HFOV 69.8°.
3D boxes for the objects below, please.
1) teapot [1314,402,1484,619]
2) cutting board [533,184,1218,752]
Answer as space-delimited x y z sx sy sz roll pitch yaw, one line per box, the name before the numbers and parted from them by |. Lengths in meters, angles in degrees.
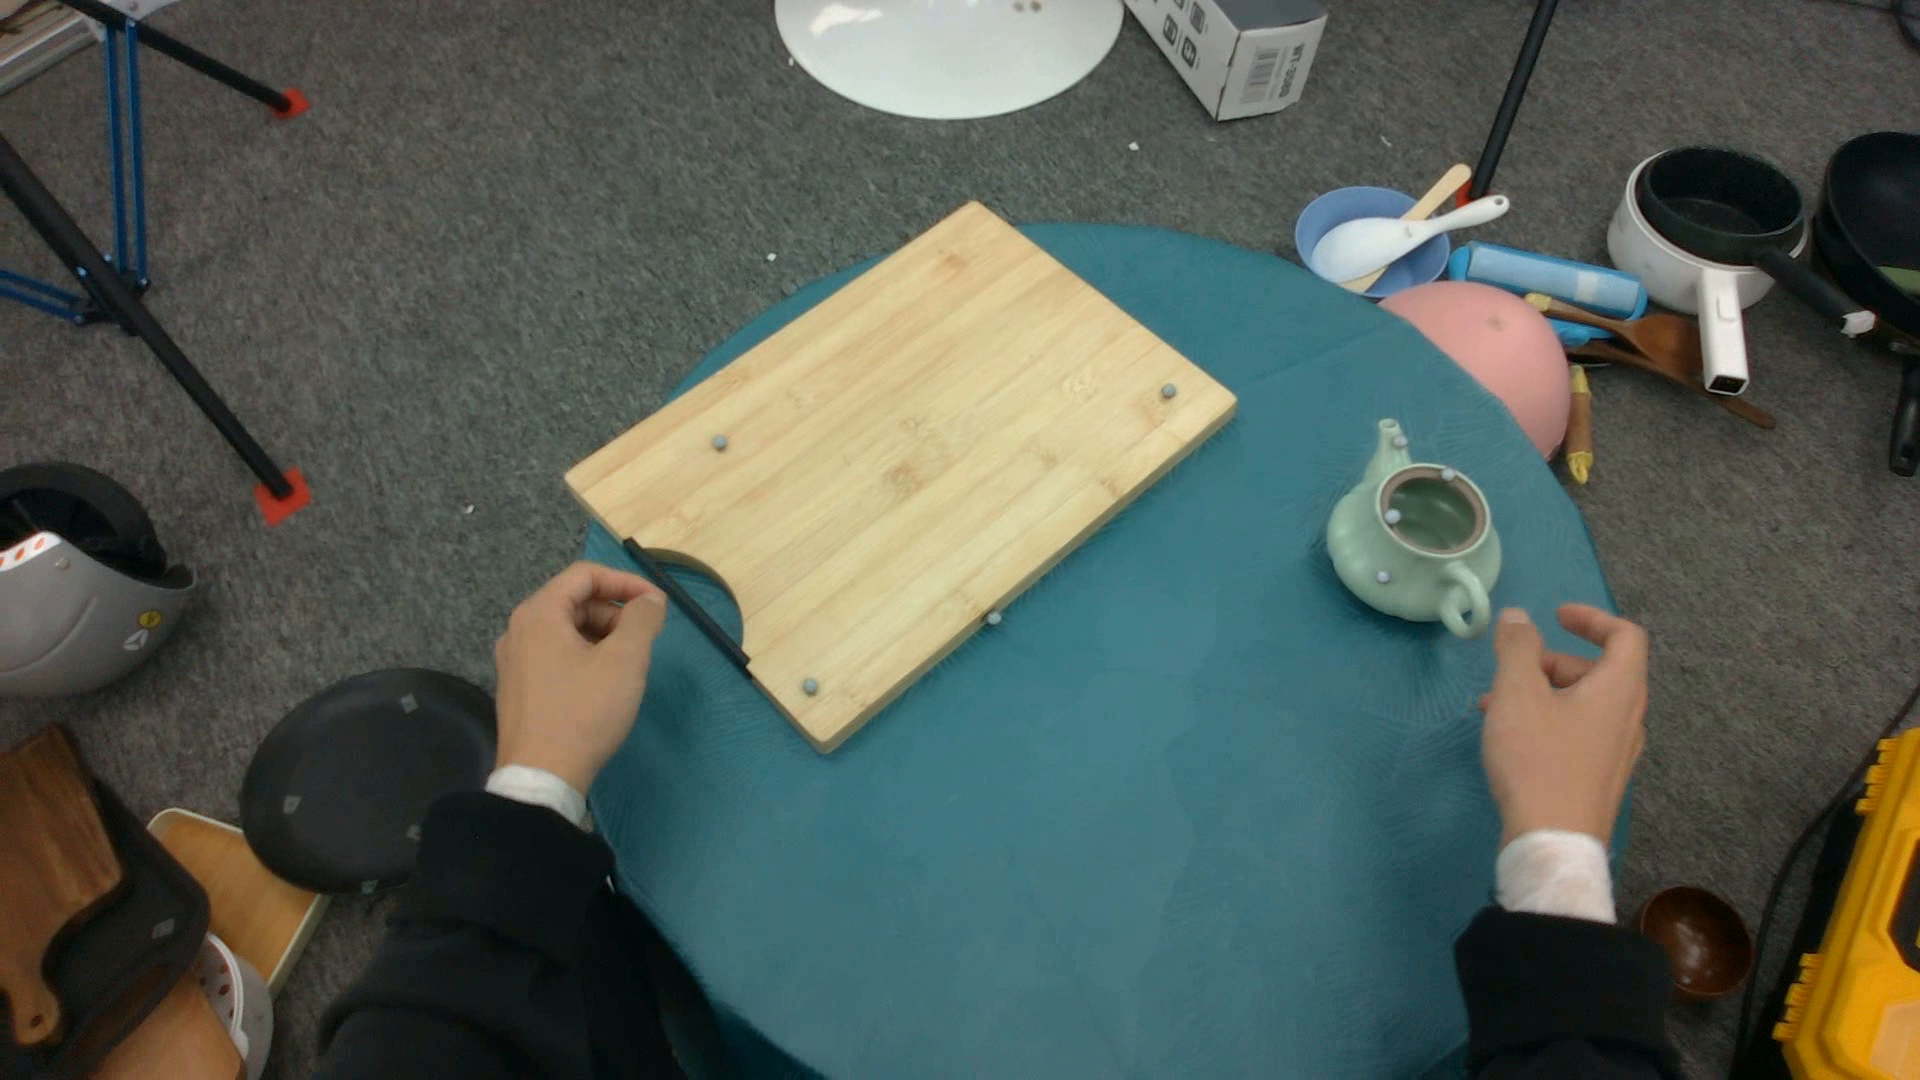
teapot | 0.254 -0.010 0.782 0.096 0.061 0.137 -14 59 -10
cutting board | -0.044 -0.064 0.839 0.350 0.023 0.251 -40 66 -22
